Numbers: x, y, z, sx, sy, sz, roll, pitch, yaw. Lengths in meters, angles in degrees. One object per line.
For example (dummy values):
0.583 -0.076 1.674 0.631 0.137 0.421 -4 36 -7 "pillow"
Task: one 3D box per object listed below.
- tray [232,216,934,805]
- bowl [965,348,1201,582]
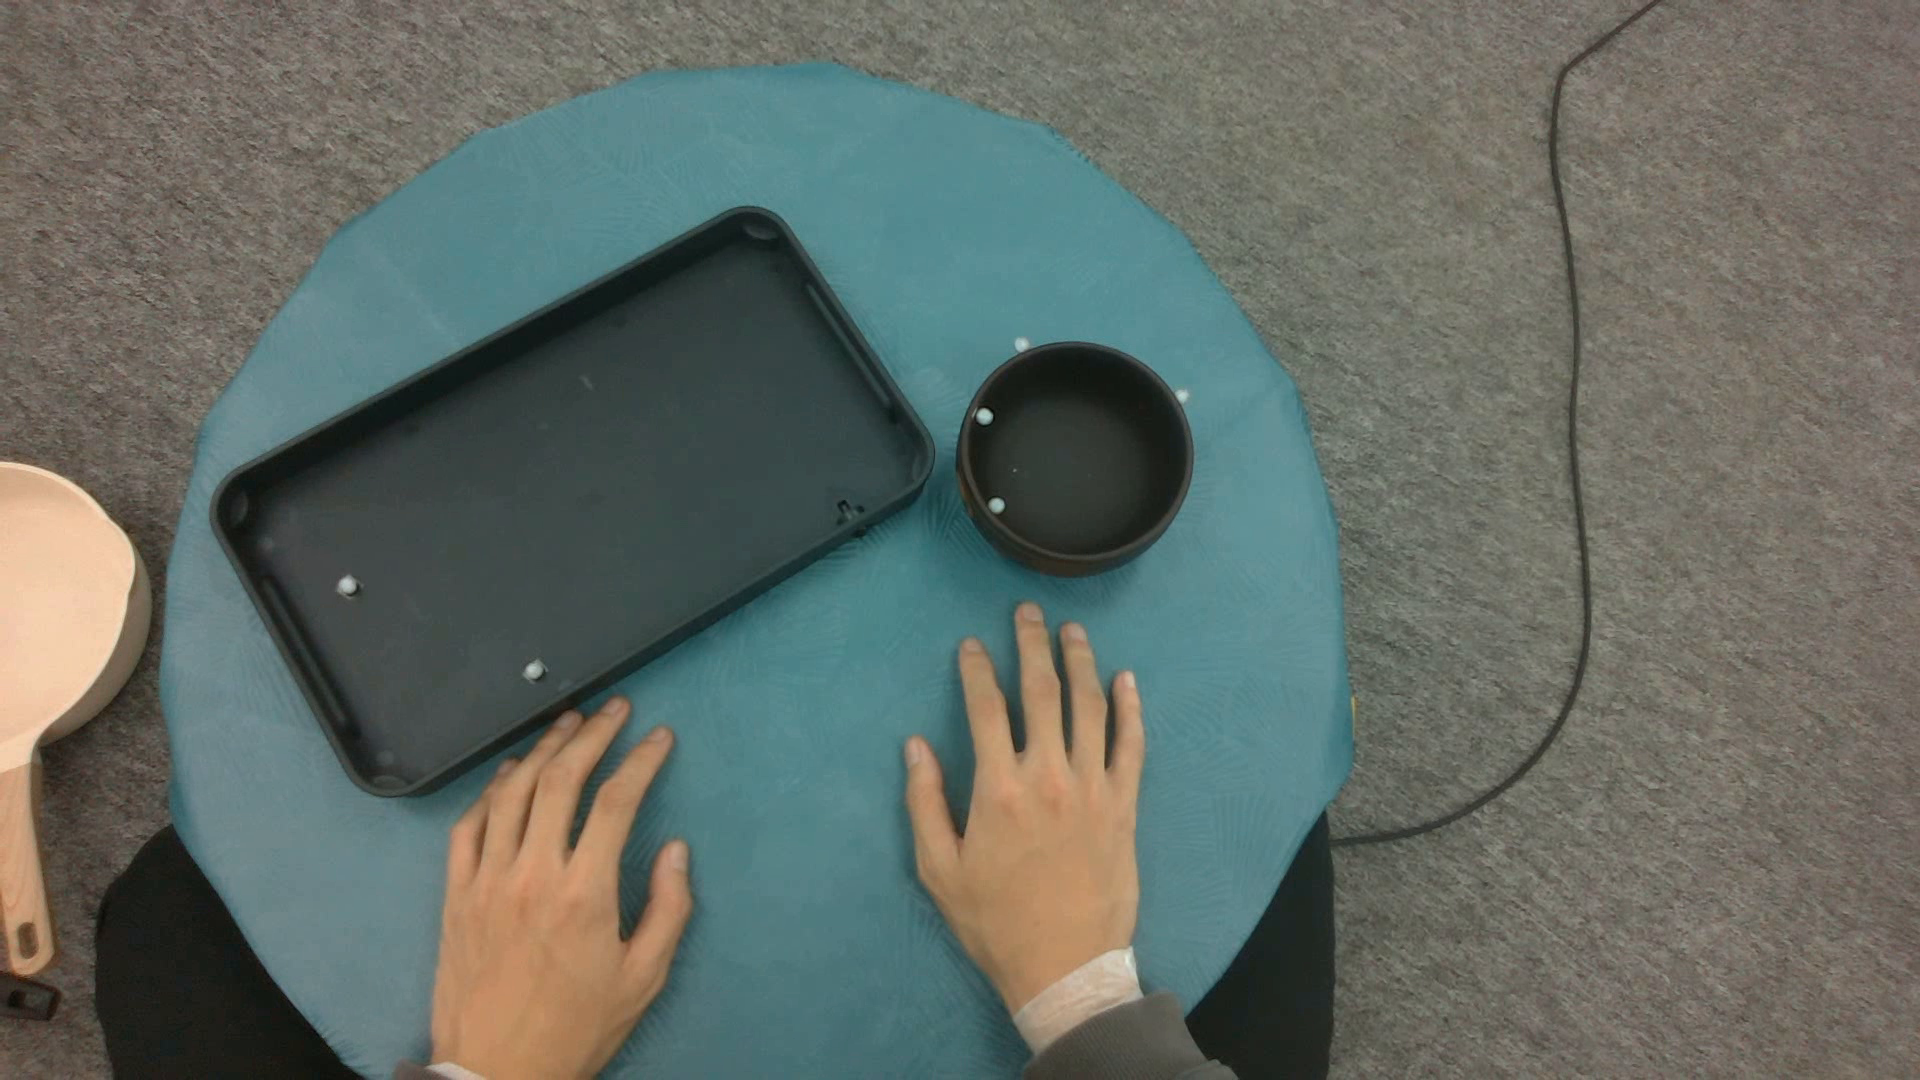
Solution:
-0.187 -0.021 0.711 0.318 0.037 0.184 -33 79 -13 "tray"
0.060 -0.034 0.713 0.118 0.069 0.118 1 75 -4 "bowl"
